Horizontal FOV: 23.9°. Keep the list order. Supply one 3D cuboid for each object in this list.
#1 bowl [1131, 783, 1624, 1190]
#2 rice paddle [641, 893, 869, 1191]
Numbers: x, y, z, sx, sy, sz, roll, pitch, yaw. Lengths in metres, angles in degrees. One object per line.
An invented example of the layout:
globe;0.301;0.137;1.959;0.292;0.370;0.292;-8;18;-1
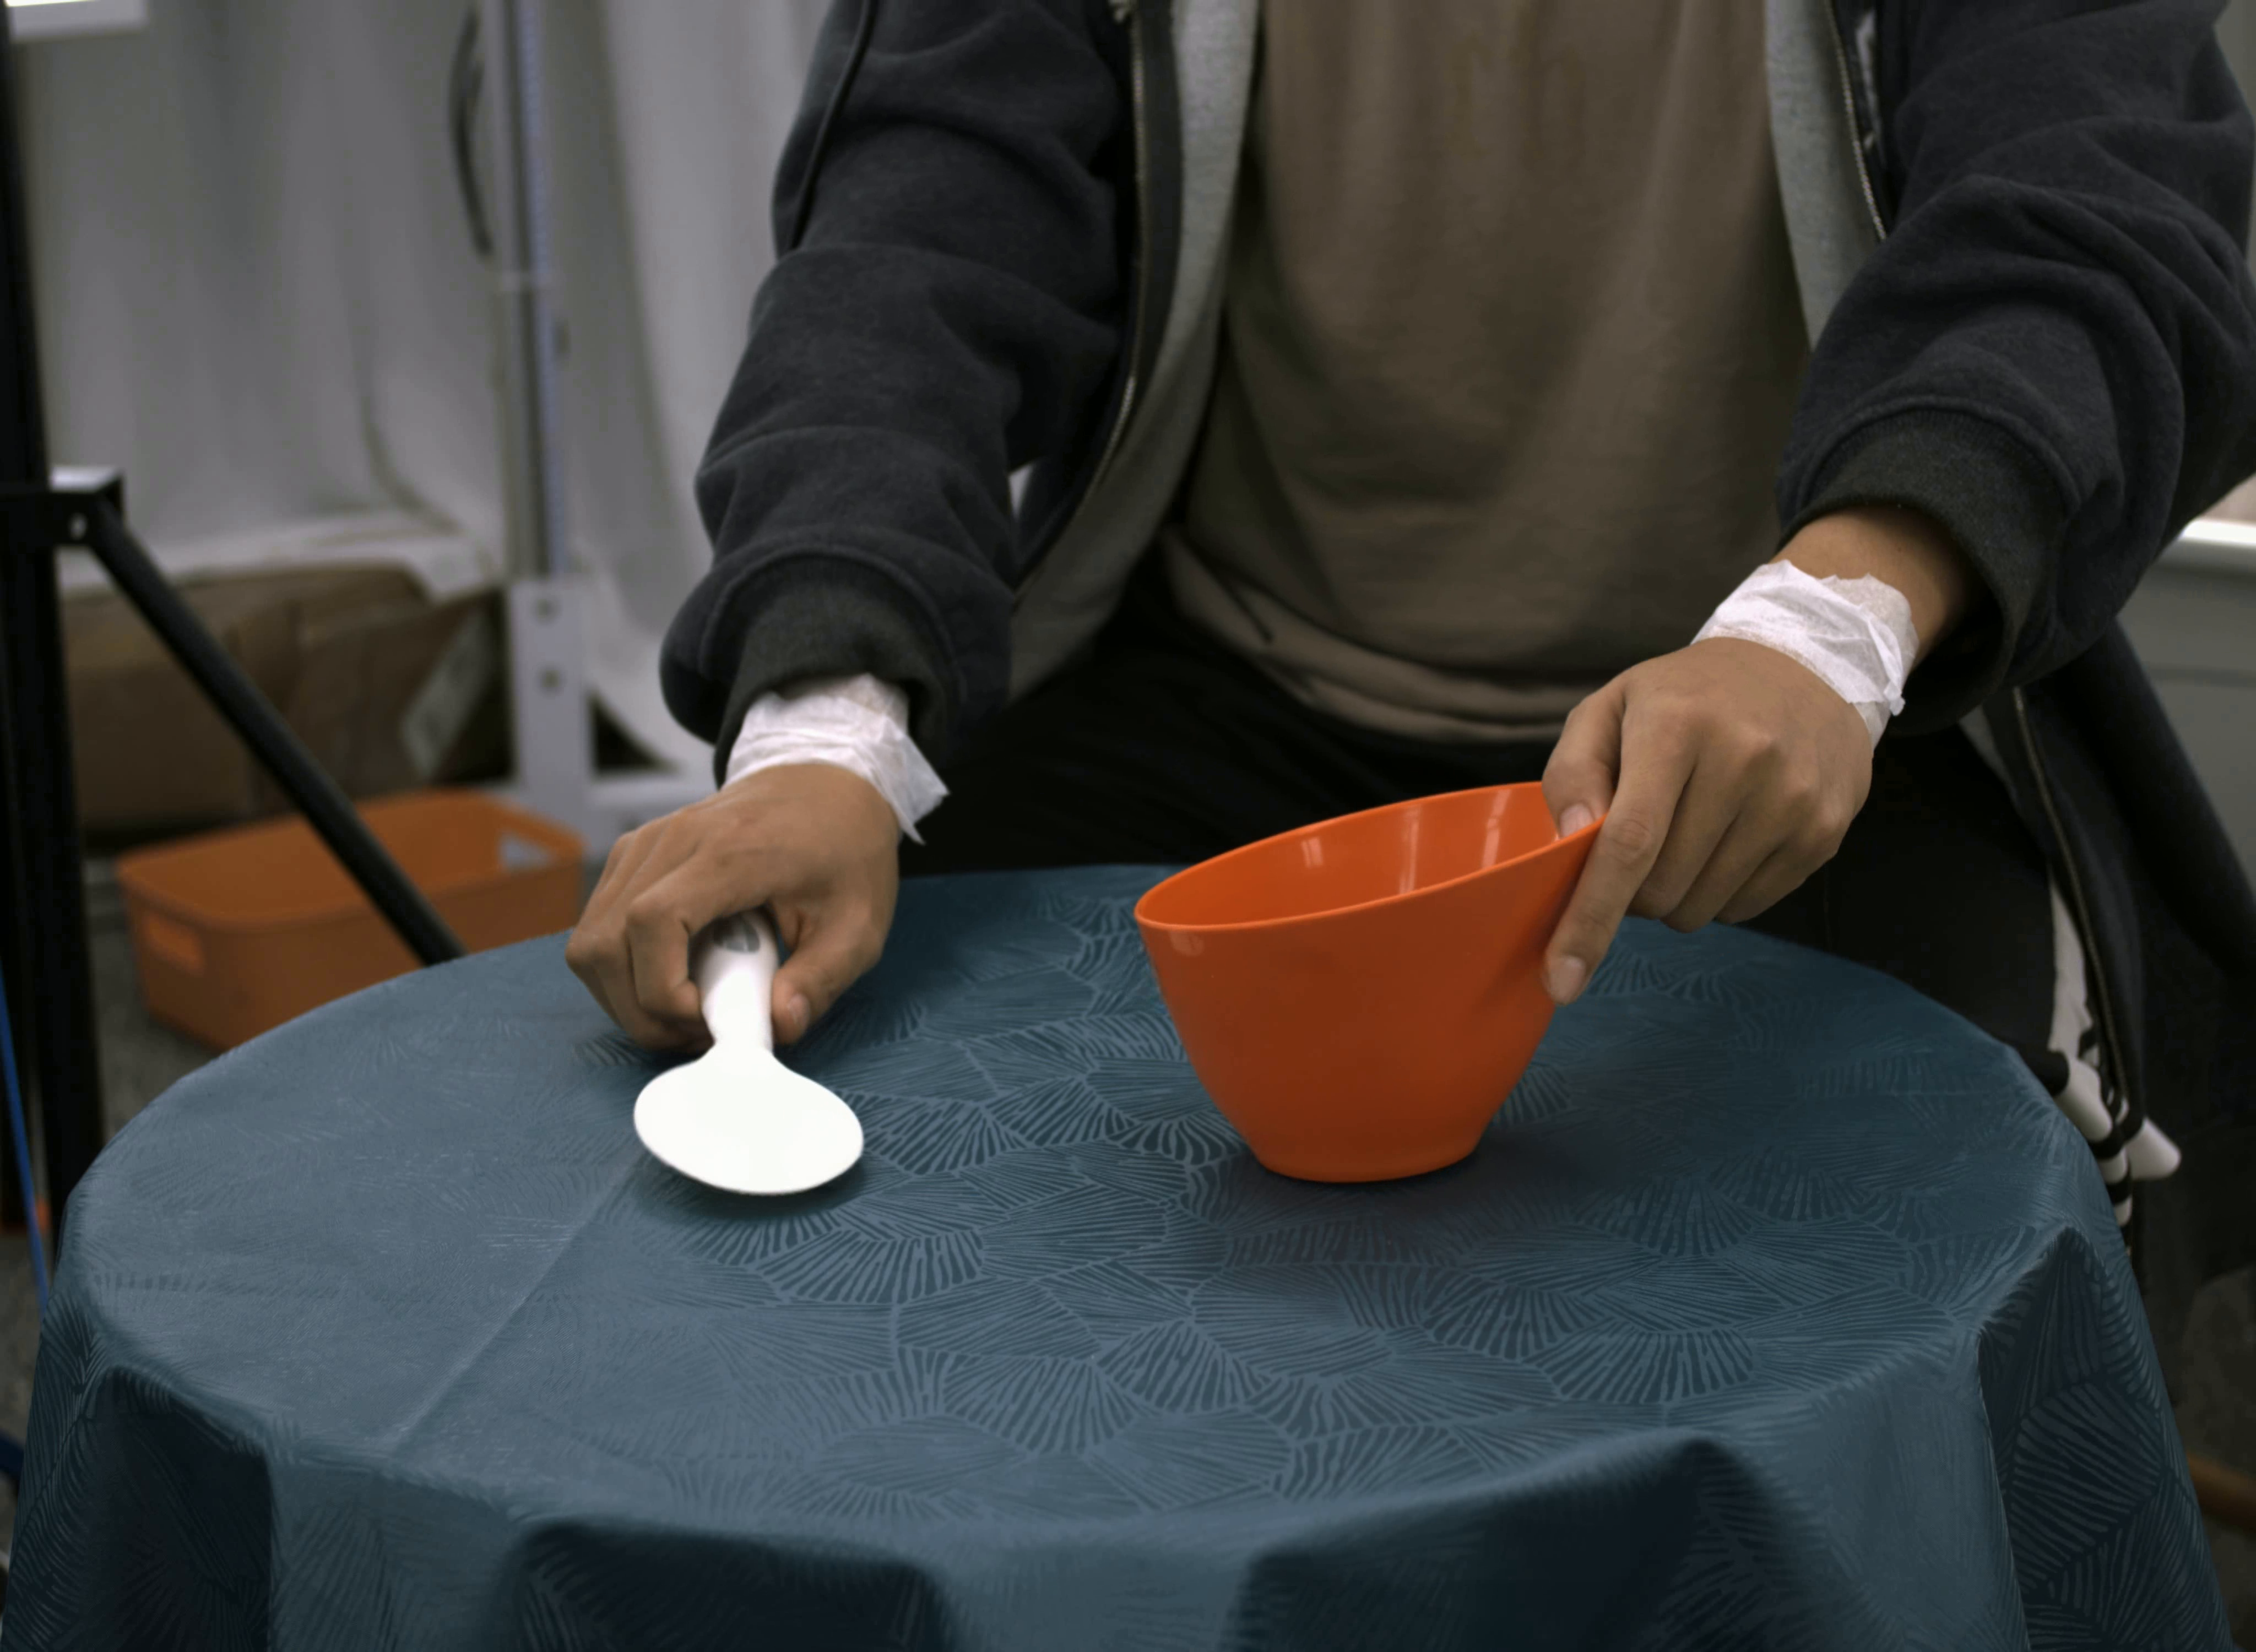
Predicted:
bowl;0.076;0.049;1.565;0.147;0.104;0.149;-6;14;0
rice paddle;-0.118;0.069;1.648;0.068;0.029;0.207;1;19;-7
